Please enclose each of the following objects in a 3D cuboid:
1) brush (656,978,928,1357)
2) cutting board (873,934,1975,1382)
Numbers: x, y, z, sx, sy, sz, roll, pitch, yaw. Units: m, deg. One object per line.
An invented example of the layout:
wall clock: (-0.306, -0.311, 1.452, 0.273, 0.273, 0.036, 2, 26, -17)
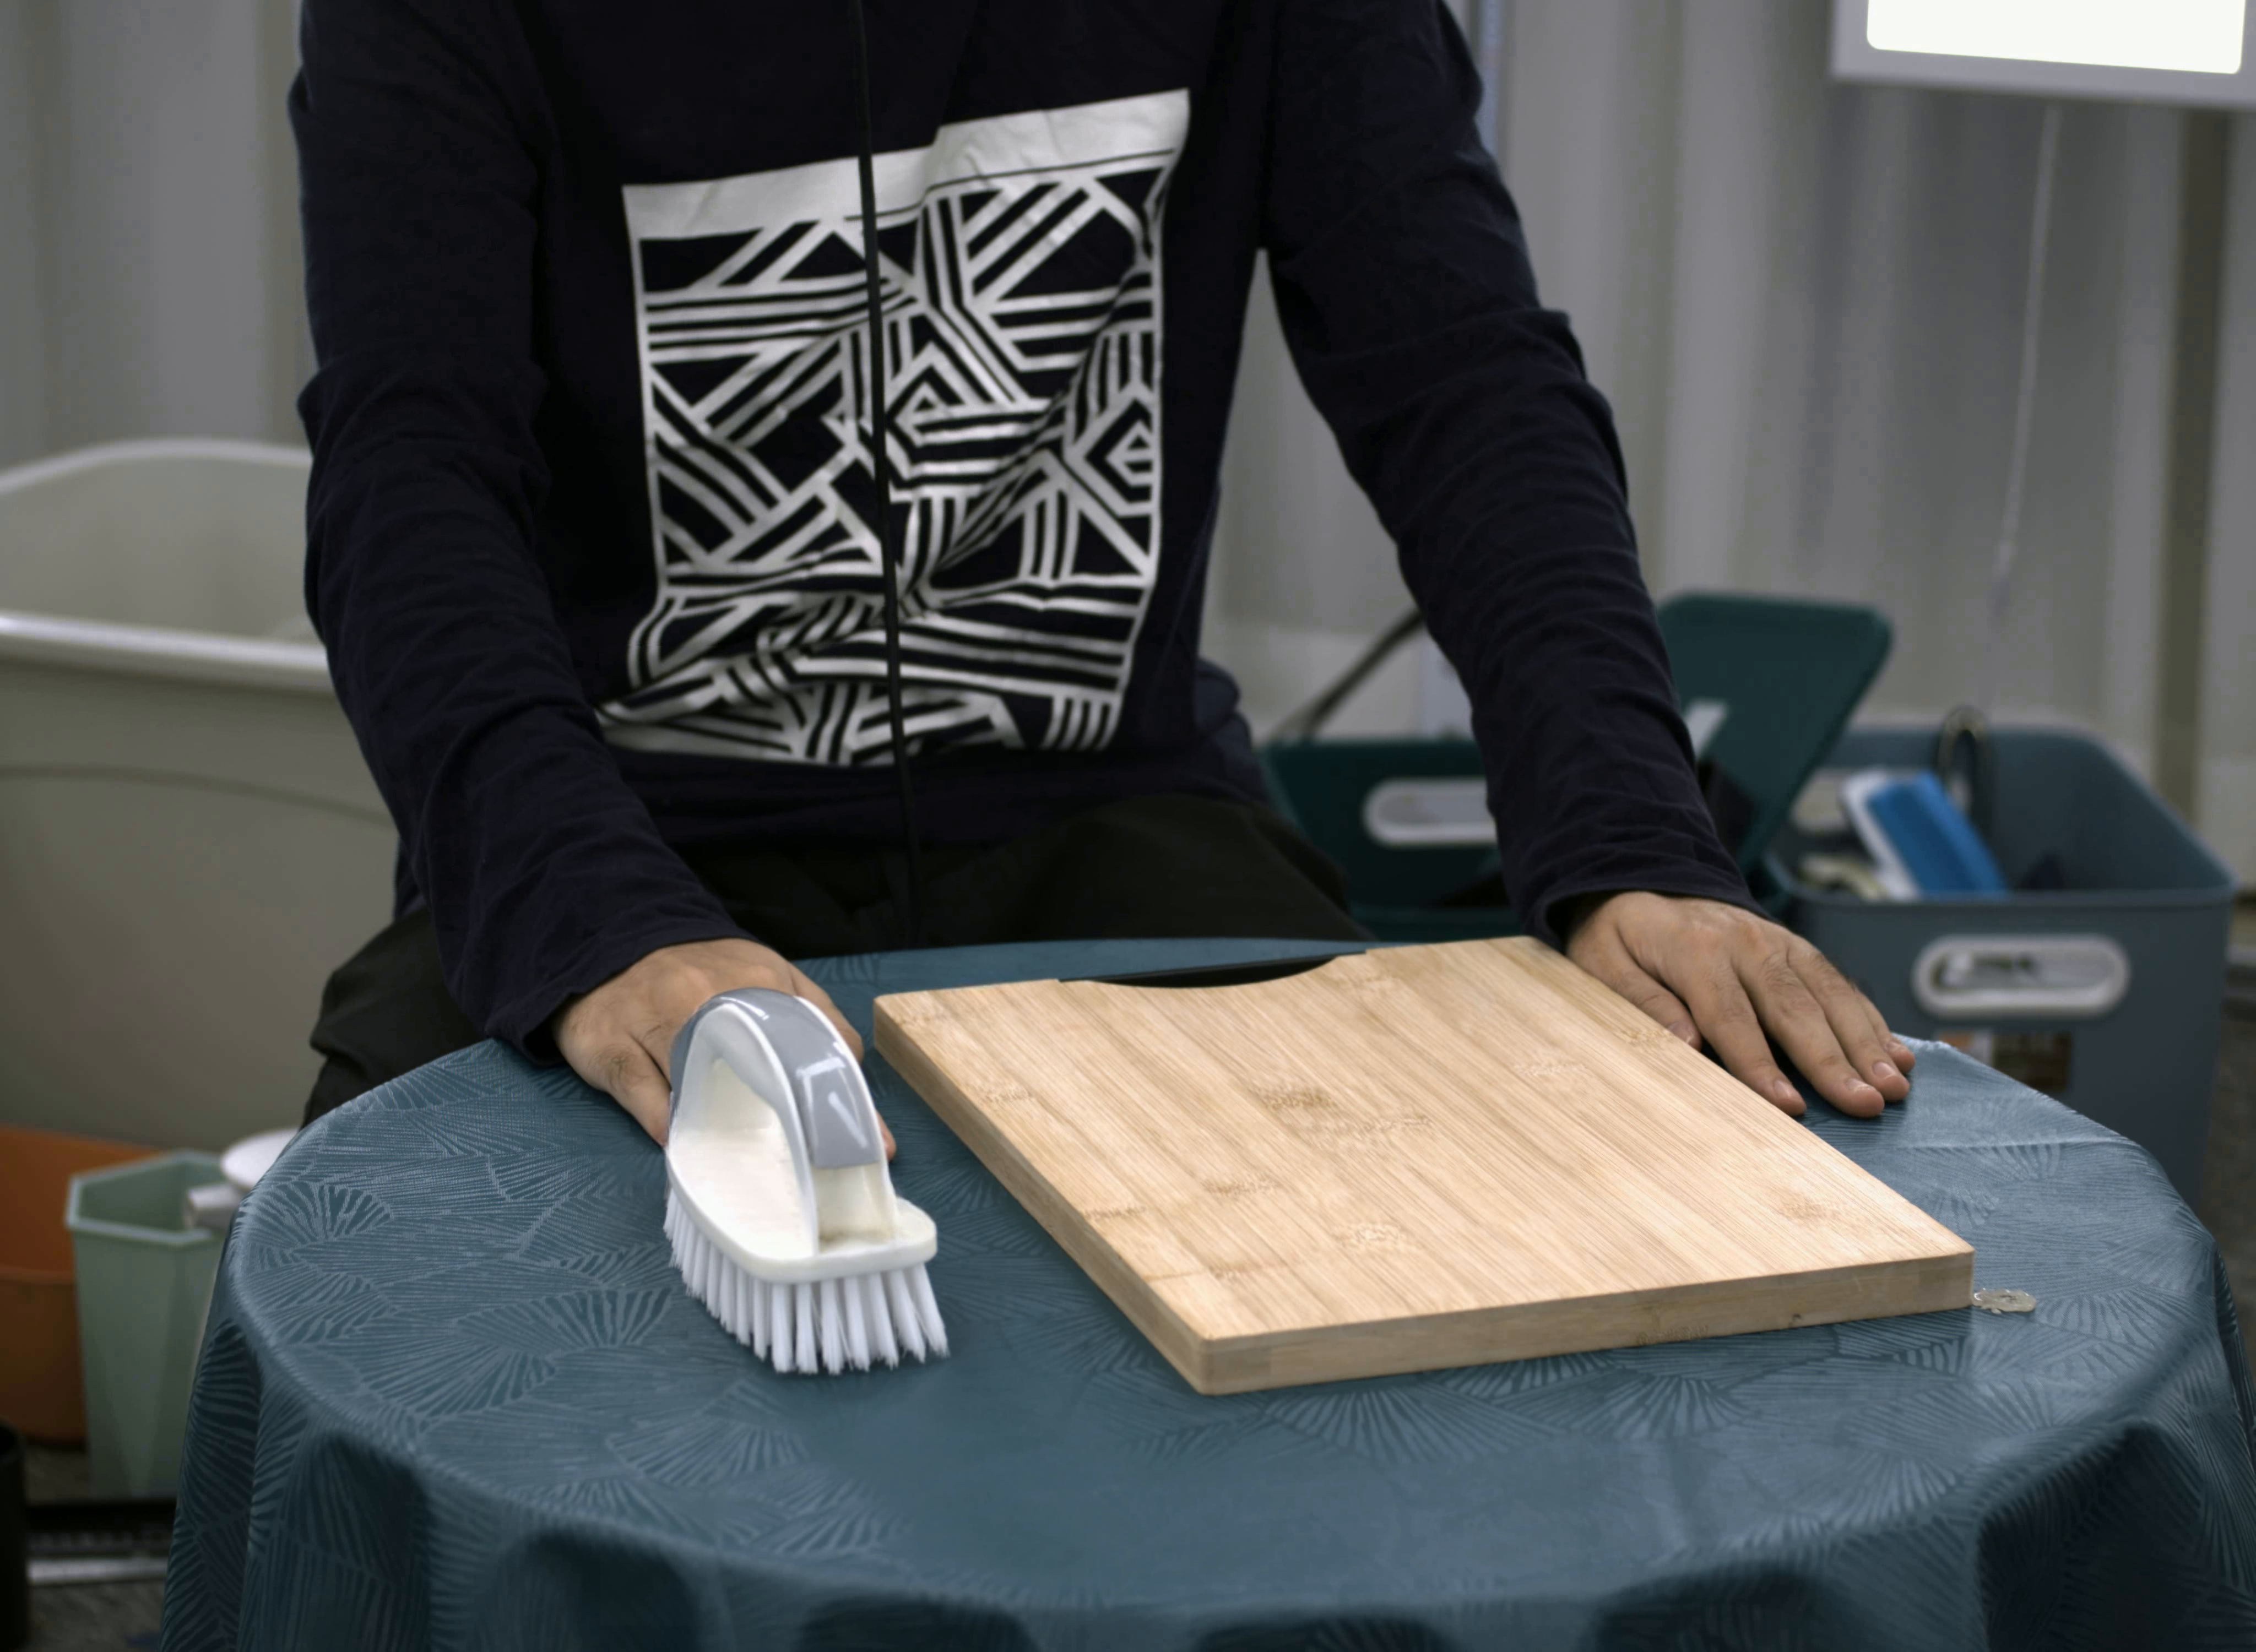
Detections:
brush: (-0.107, 0.089, 1.534, 0.061, 0.095, 0.173, -6, 15, -19)
cutting board: (0.080, 0.098, 1.652, 0.251, 0.024, 0.345, -4, 16, -19)
